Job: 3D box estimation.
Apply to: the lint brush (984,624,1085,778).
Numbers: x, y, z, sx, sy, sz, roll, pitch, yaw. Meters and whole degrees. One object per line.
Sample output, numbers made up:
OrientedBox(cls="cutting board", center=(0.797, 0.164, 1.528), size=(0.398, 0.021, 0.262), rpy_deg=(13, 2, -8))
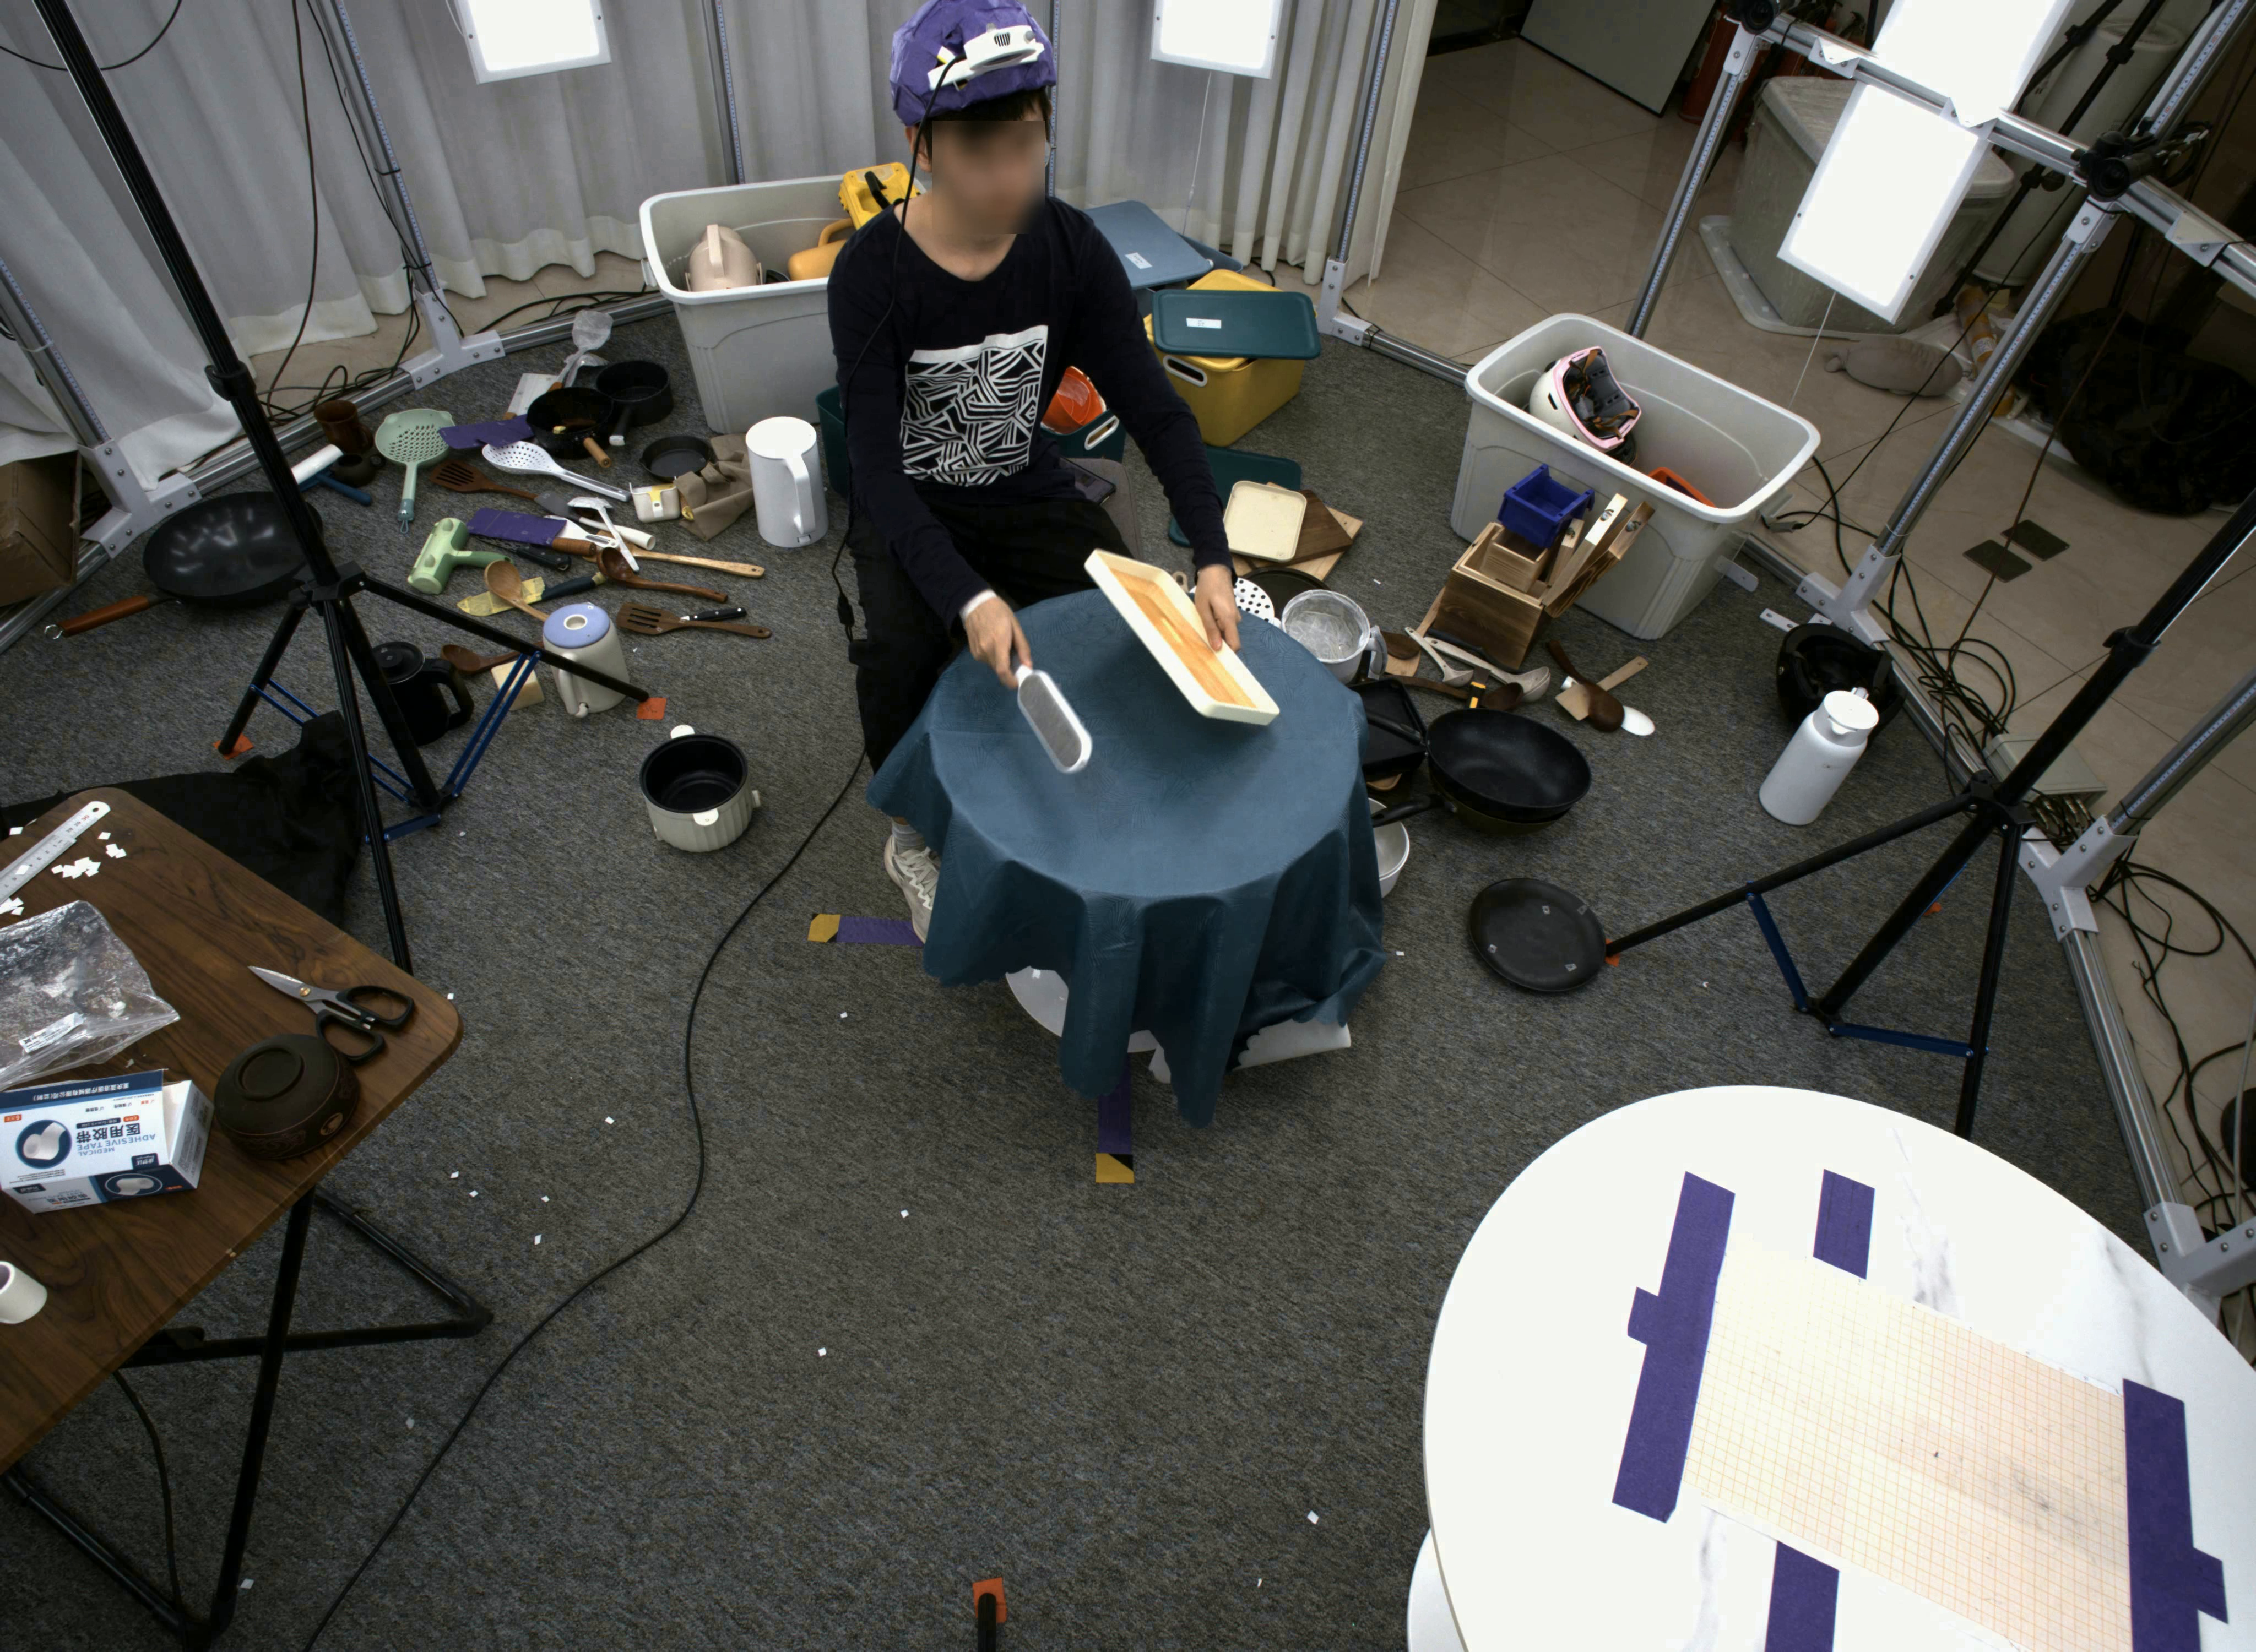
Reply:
OrientedBox(cls="lint brush", center=(-0.129, -0.175, 1.710), size=(0.021, 0.059, 0.316), rpy_deg=(14, 33, -41))

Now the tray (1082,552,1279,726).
OrientedBox(cls="tray", center=(0.072, -0.257, 1.772), size=(0.190, 0.027, 0.306), rpy_deg=(2, 45, -53))
